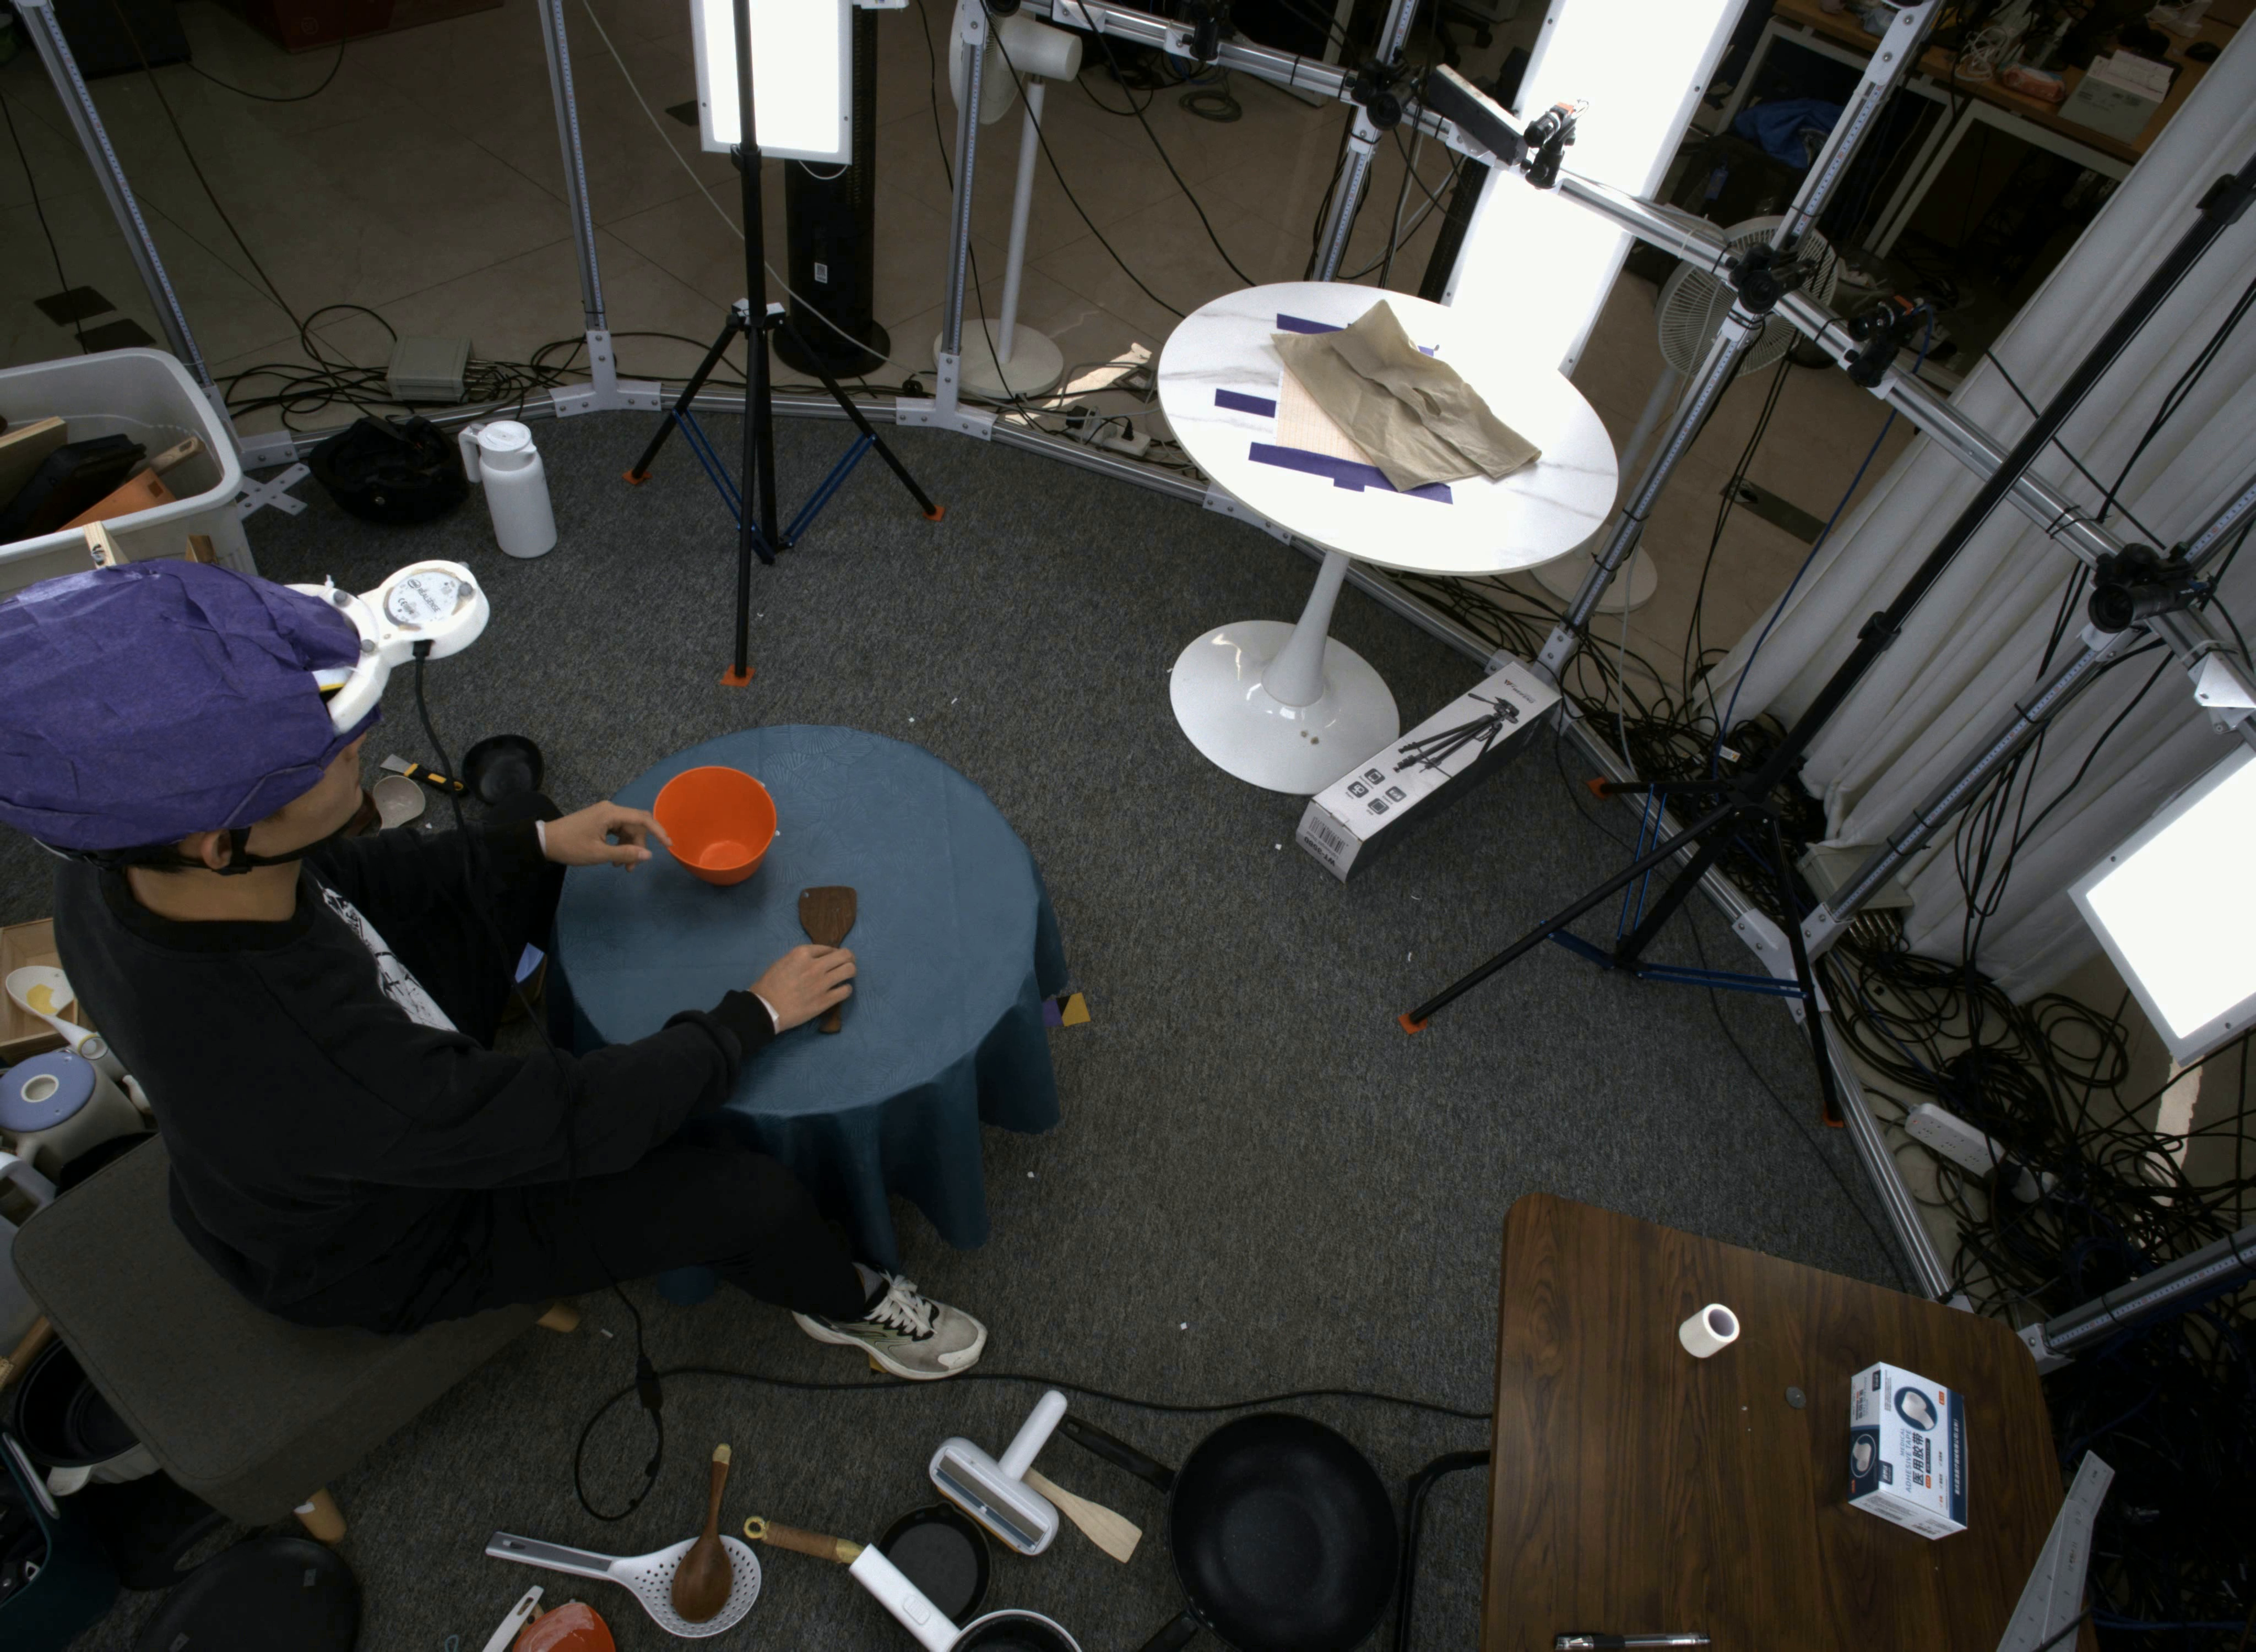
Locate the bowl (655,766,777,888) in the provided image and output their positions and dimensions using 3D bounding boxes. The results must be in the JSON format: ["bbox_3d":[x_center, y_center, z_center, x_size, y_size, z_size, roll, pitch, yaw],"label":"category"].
[{"bbox_3d":[-0.517,0.012,1.631,0.148,0.107,0.145,8,52,-8],"label":"bowl"}]

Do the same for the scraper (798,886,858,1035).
[{"bbox_3d":[-0.372,0.163,1.616,0.076,0.011,0.207,-1,55,-14],"label":"scraper"}]
